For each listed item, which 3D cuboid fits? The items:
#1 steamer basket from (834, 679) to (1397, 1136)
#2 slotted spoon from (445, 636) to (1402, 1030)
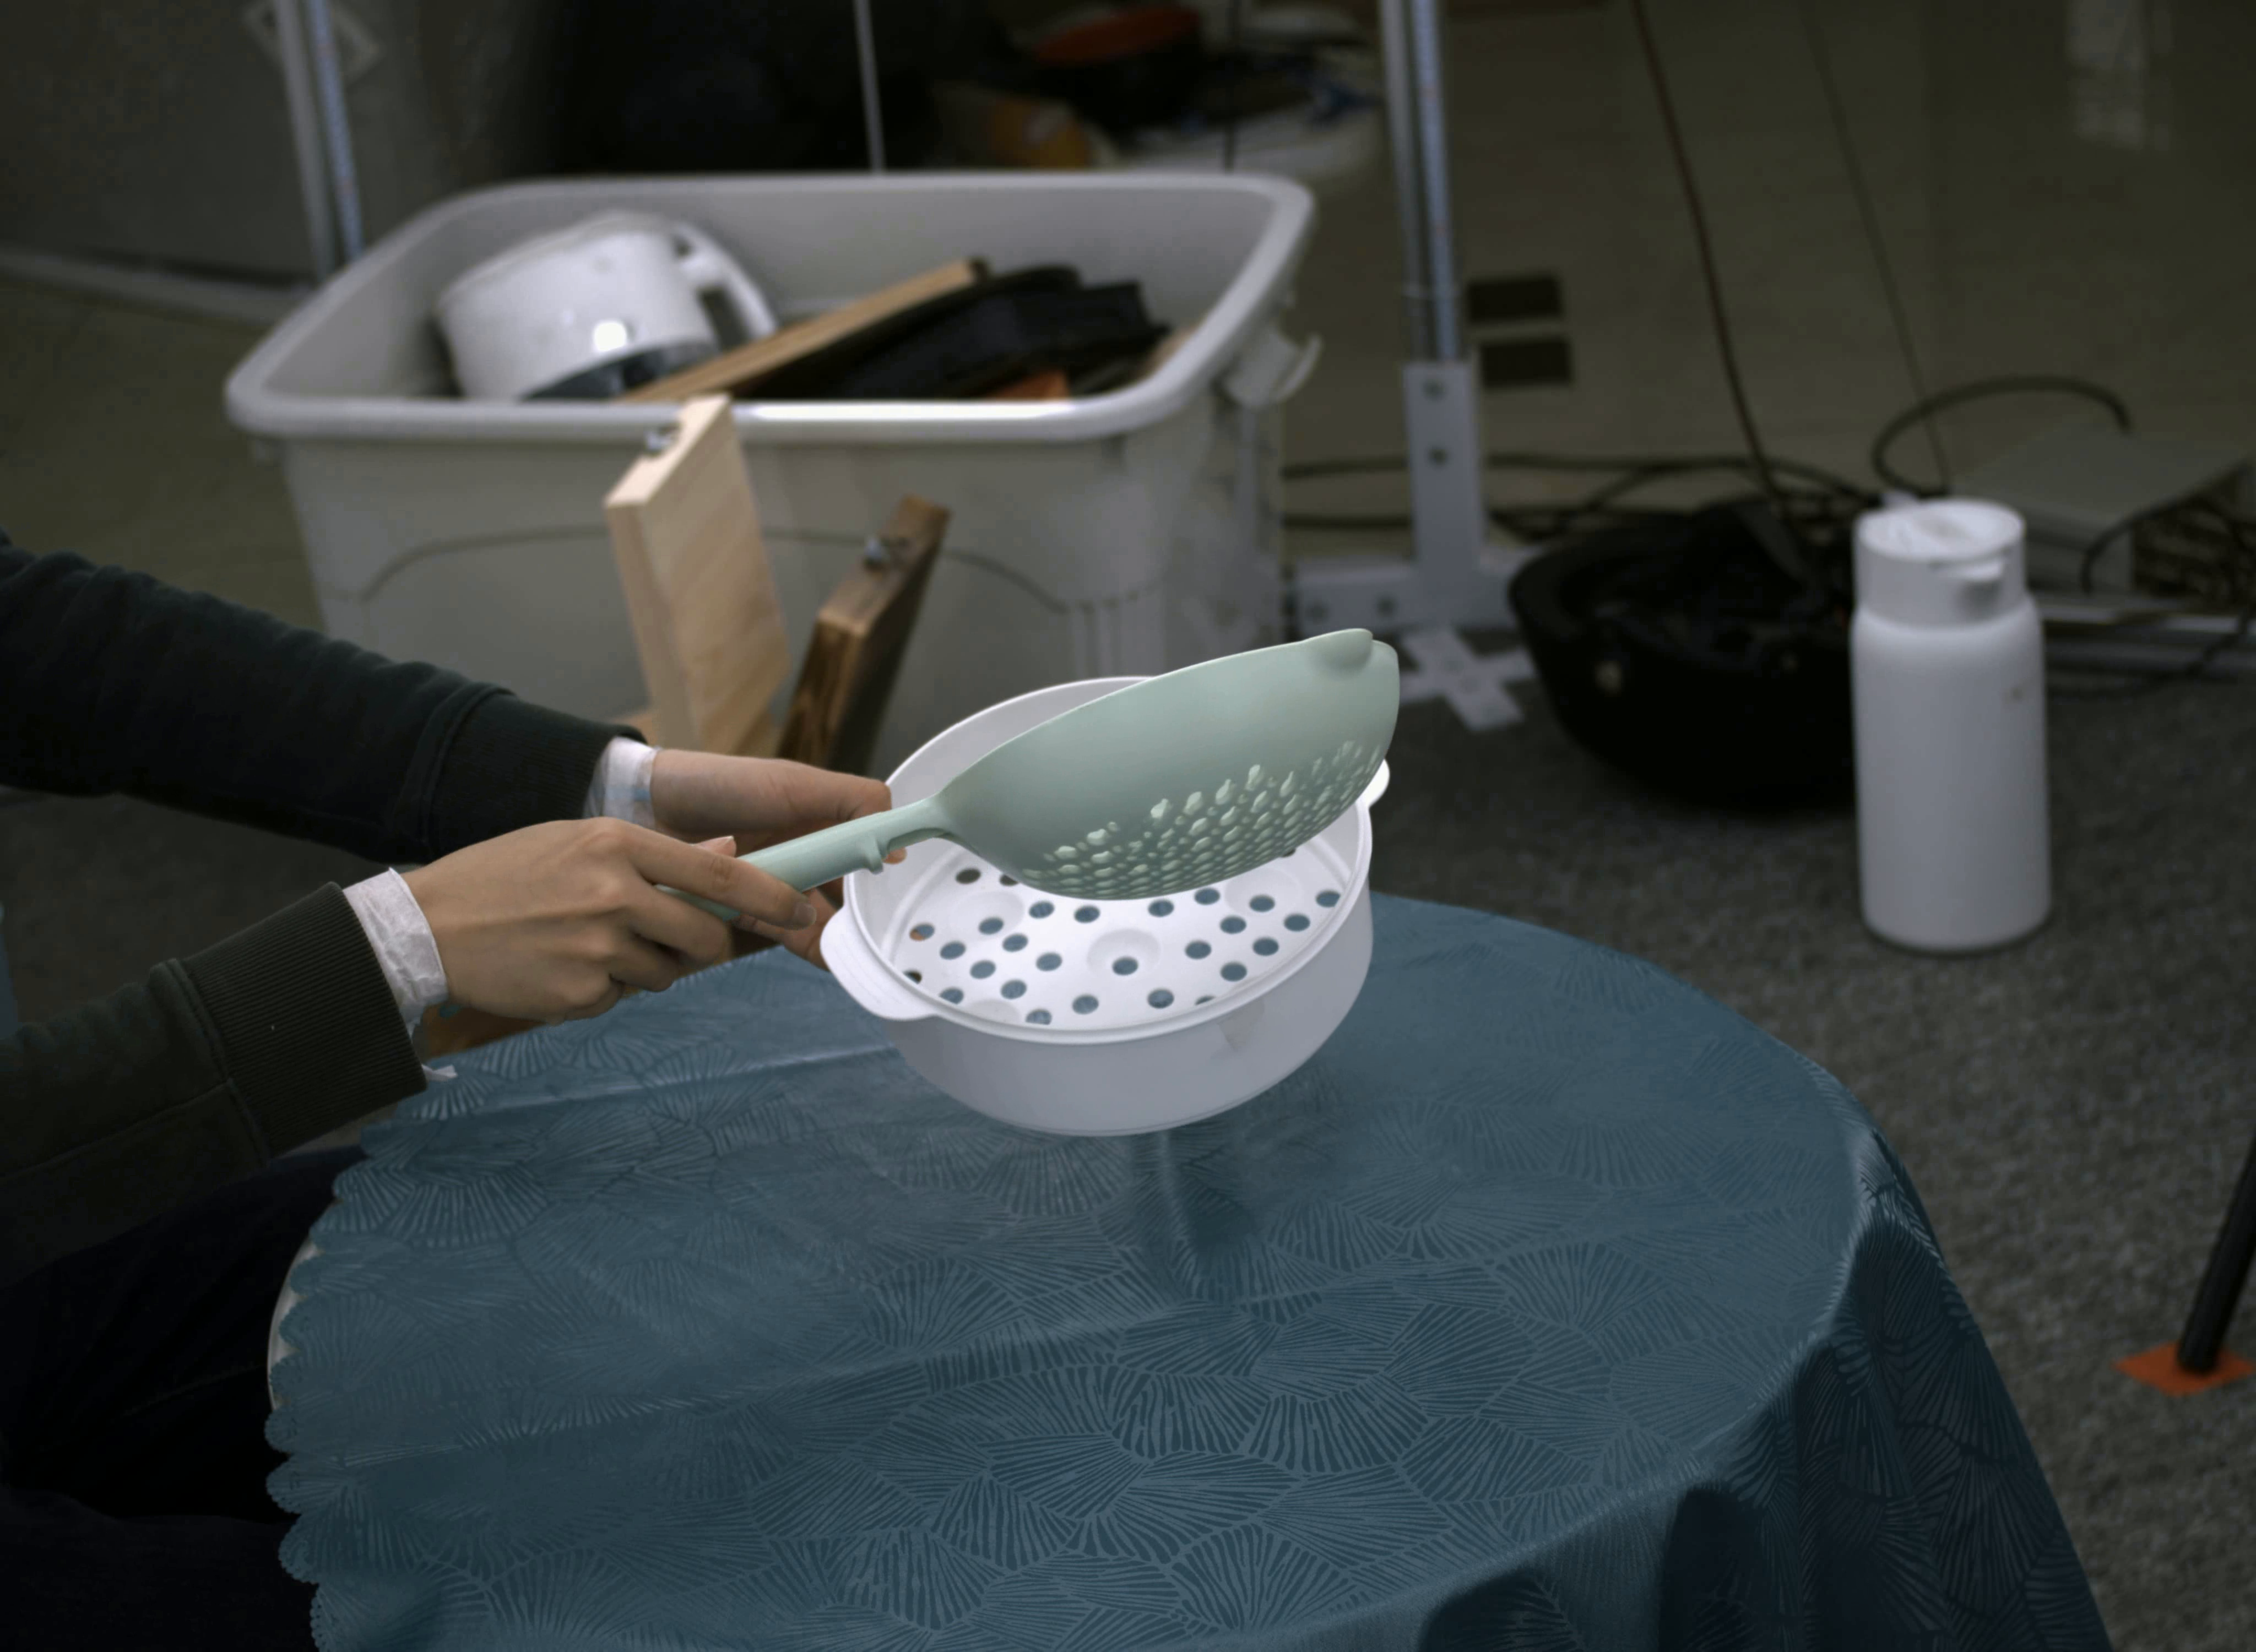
[{"bbox_3d":[0.000,0.032,2.163,0.229,0.070,0.199,-27,45,-17],"label":"steamer basket"},{"bbox_3d":[-0.073,0.006,2.028,0.358,0.075,0.170,-9,-12,-2],"label":"slotted spoon"}]
